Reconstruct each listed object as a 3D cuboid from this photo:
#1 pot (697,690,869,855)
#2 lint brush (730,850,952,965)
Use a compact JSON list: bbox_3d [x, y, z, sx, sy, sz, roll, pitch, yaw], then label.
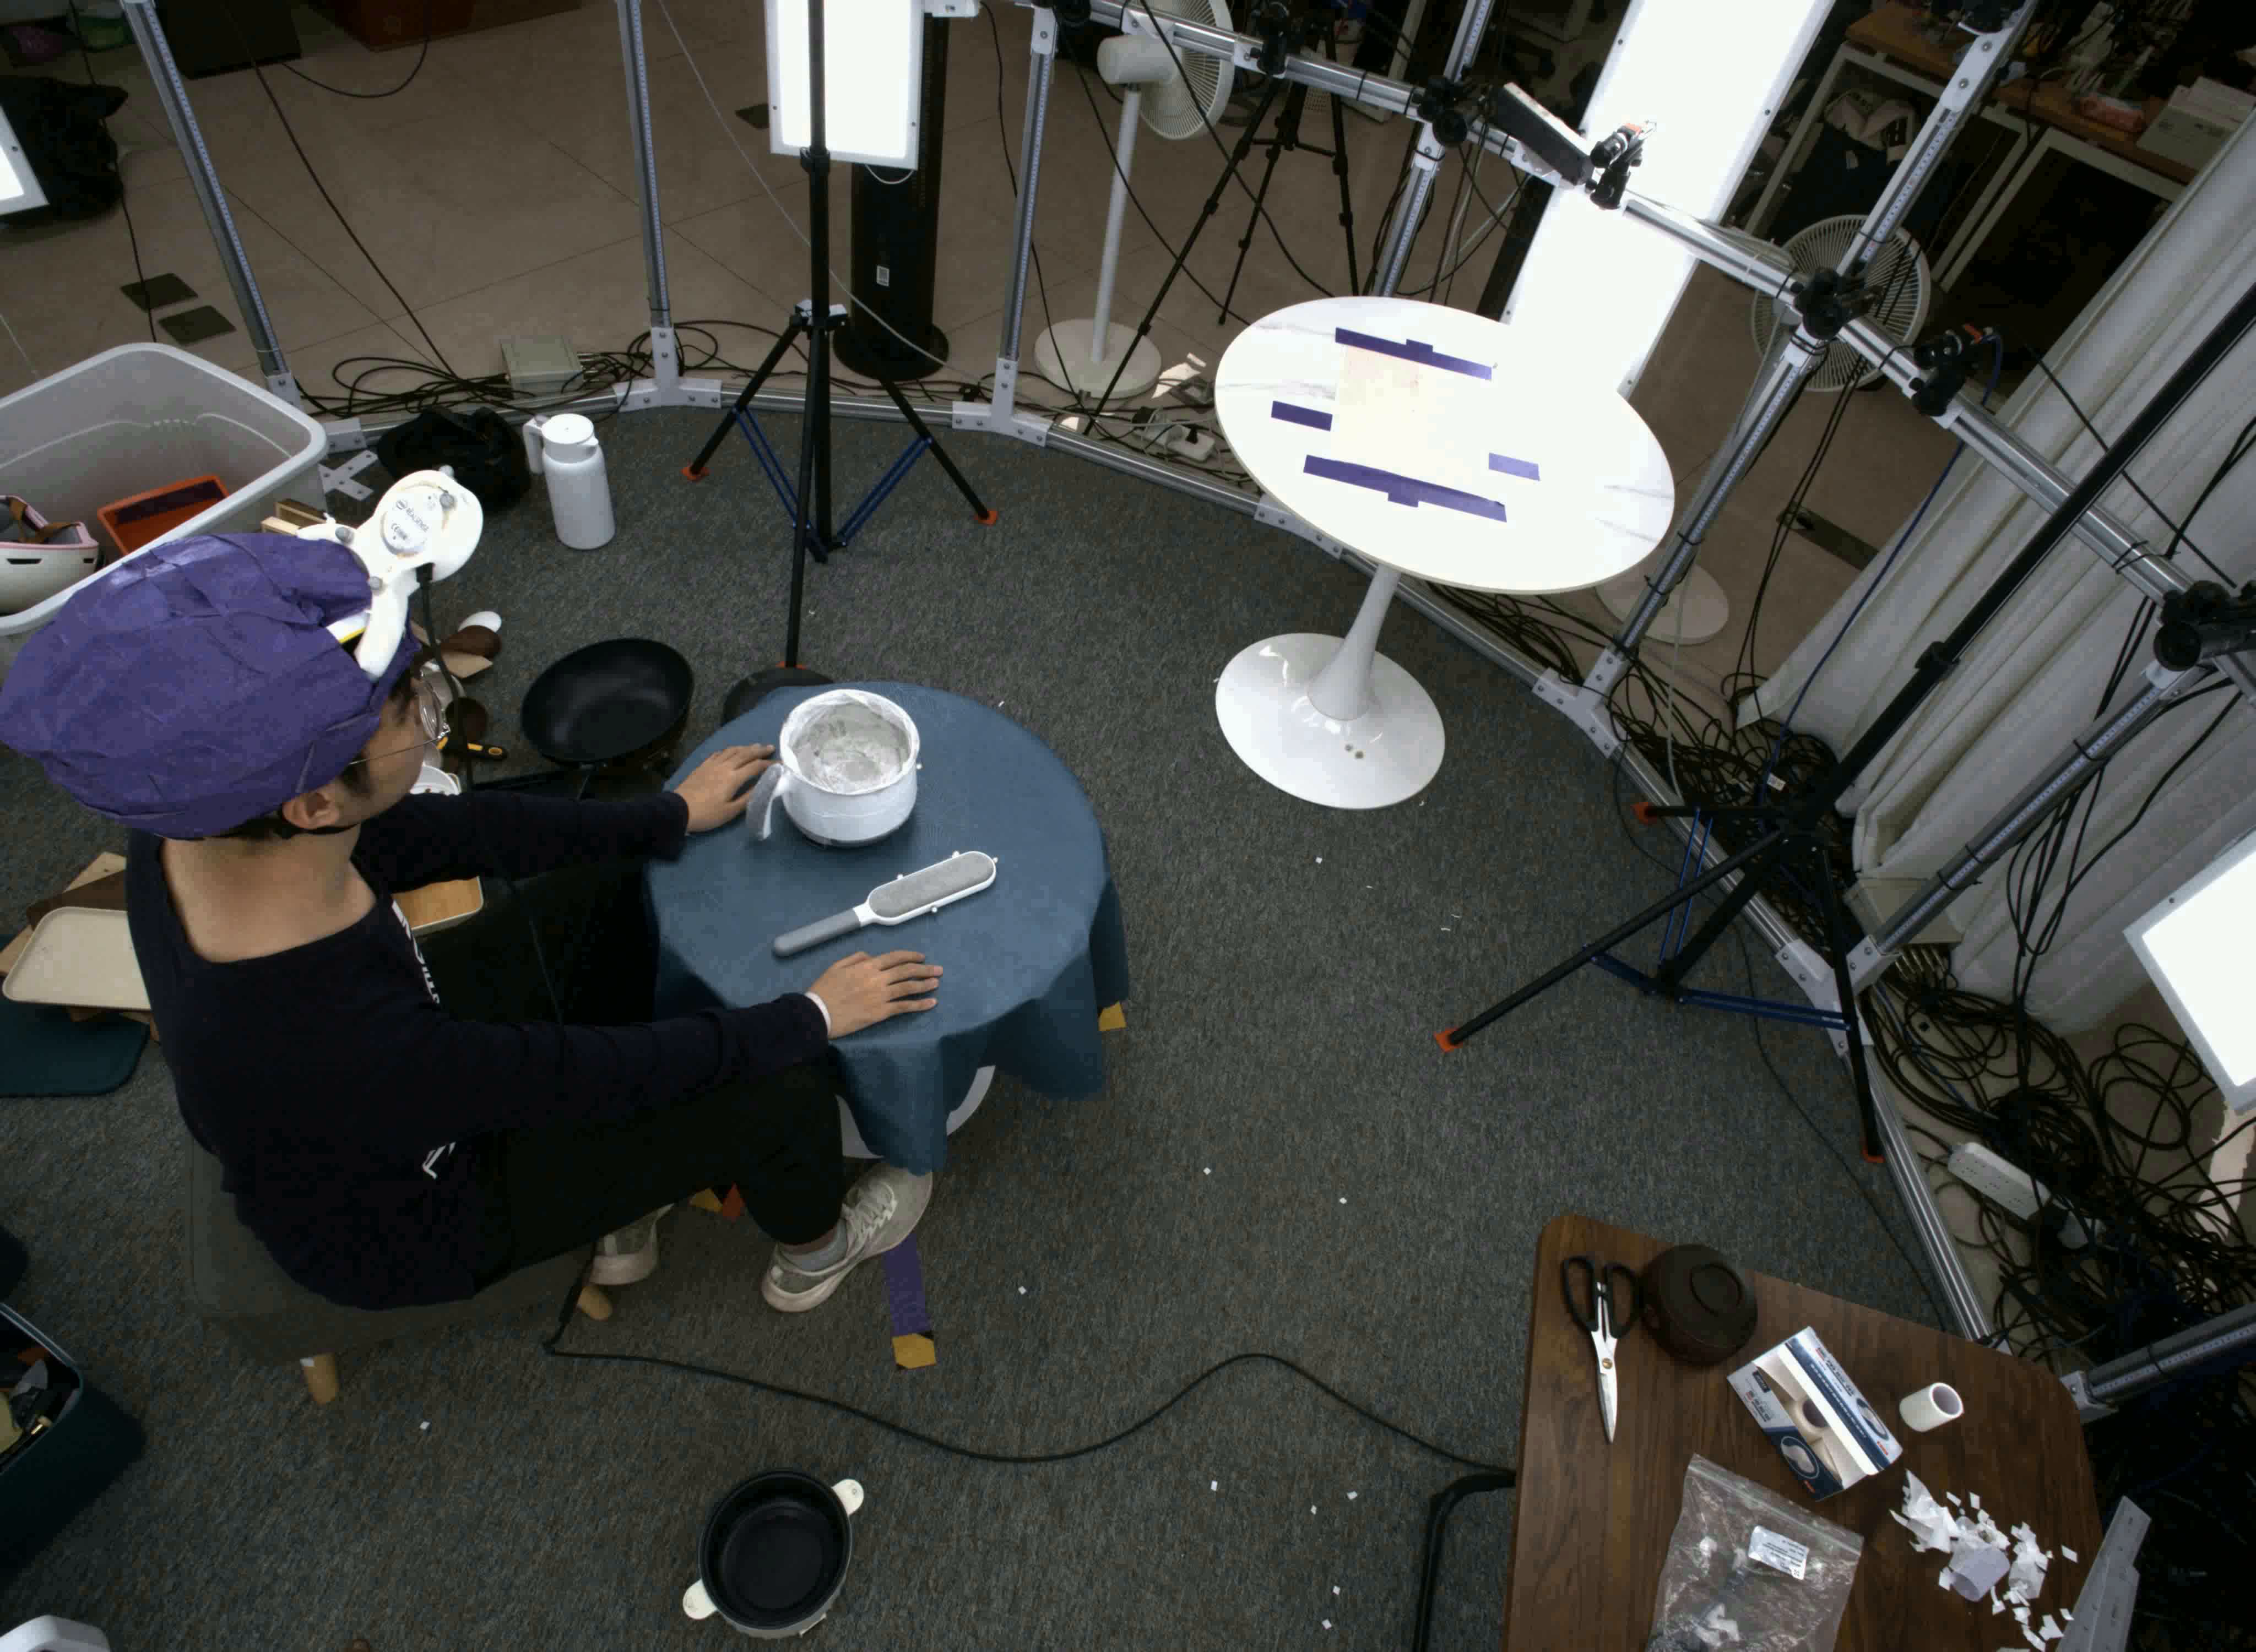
[{"bbox_3d":[-0.450,-0.057,1.679,0.234,0.140,0.174,-29,62,-30],"label":"pot"},{"bbox_3d":[-0.363,0.102,1.658,0.310,0.021,0.059,-25,69,-28],"label":"lint brush"}]
